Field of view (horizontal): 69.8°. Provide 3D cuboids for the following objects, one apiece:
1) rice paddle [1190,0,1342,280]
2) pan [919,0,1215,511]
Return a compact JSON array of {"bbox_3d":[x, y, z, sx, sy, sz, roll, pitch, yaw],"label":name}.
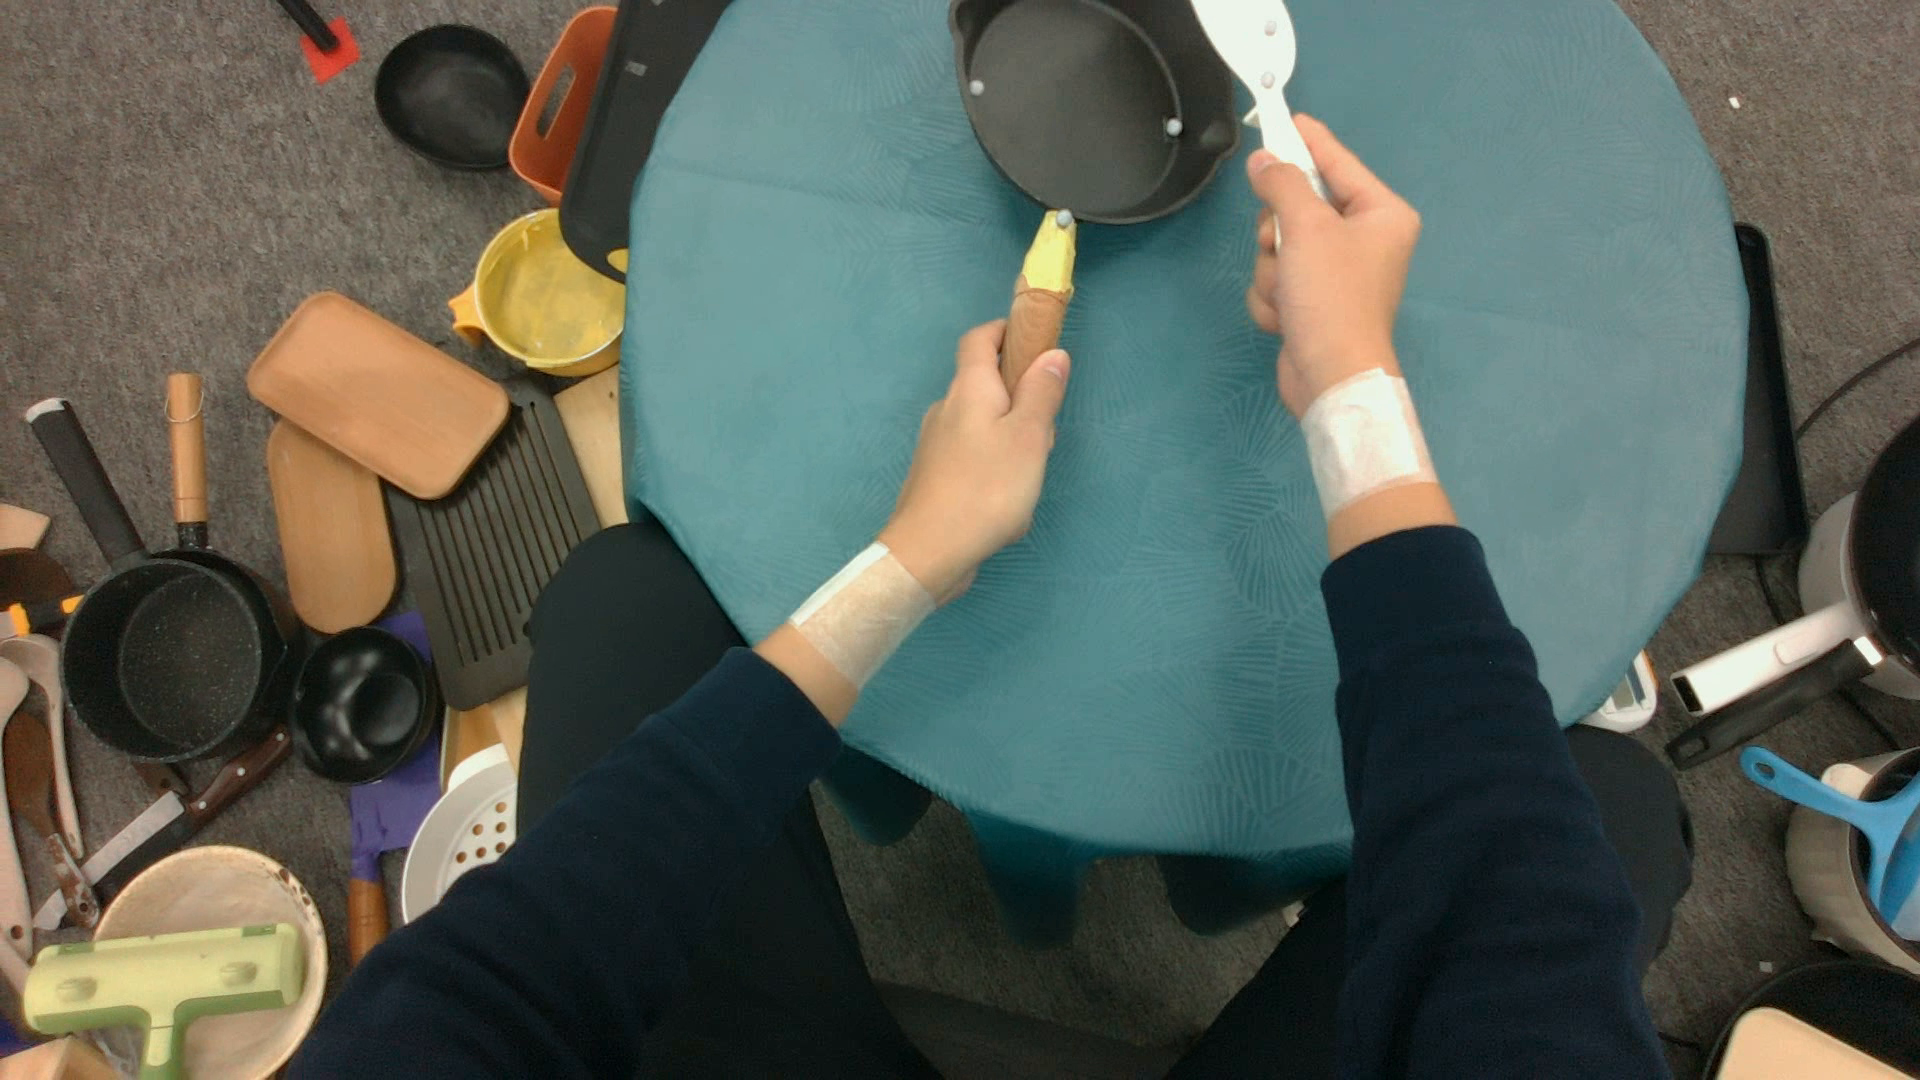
[{"bbox_3d":[0.149,-0.227,0.687,0.069,0.029,0.206,2,68,-33],"label":"rice paddle"},{"bbox_3d":[0.035,-0.164,0.698,0.169,0.049,0.325,19,73,-13],"label":"pan"}]
